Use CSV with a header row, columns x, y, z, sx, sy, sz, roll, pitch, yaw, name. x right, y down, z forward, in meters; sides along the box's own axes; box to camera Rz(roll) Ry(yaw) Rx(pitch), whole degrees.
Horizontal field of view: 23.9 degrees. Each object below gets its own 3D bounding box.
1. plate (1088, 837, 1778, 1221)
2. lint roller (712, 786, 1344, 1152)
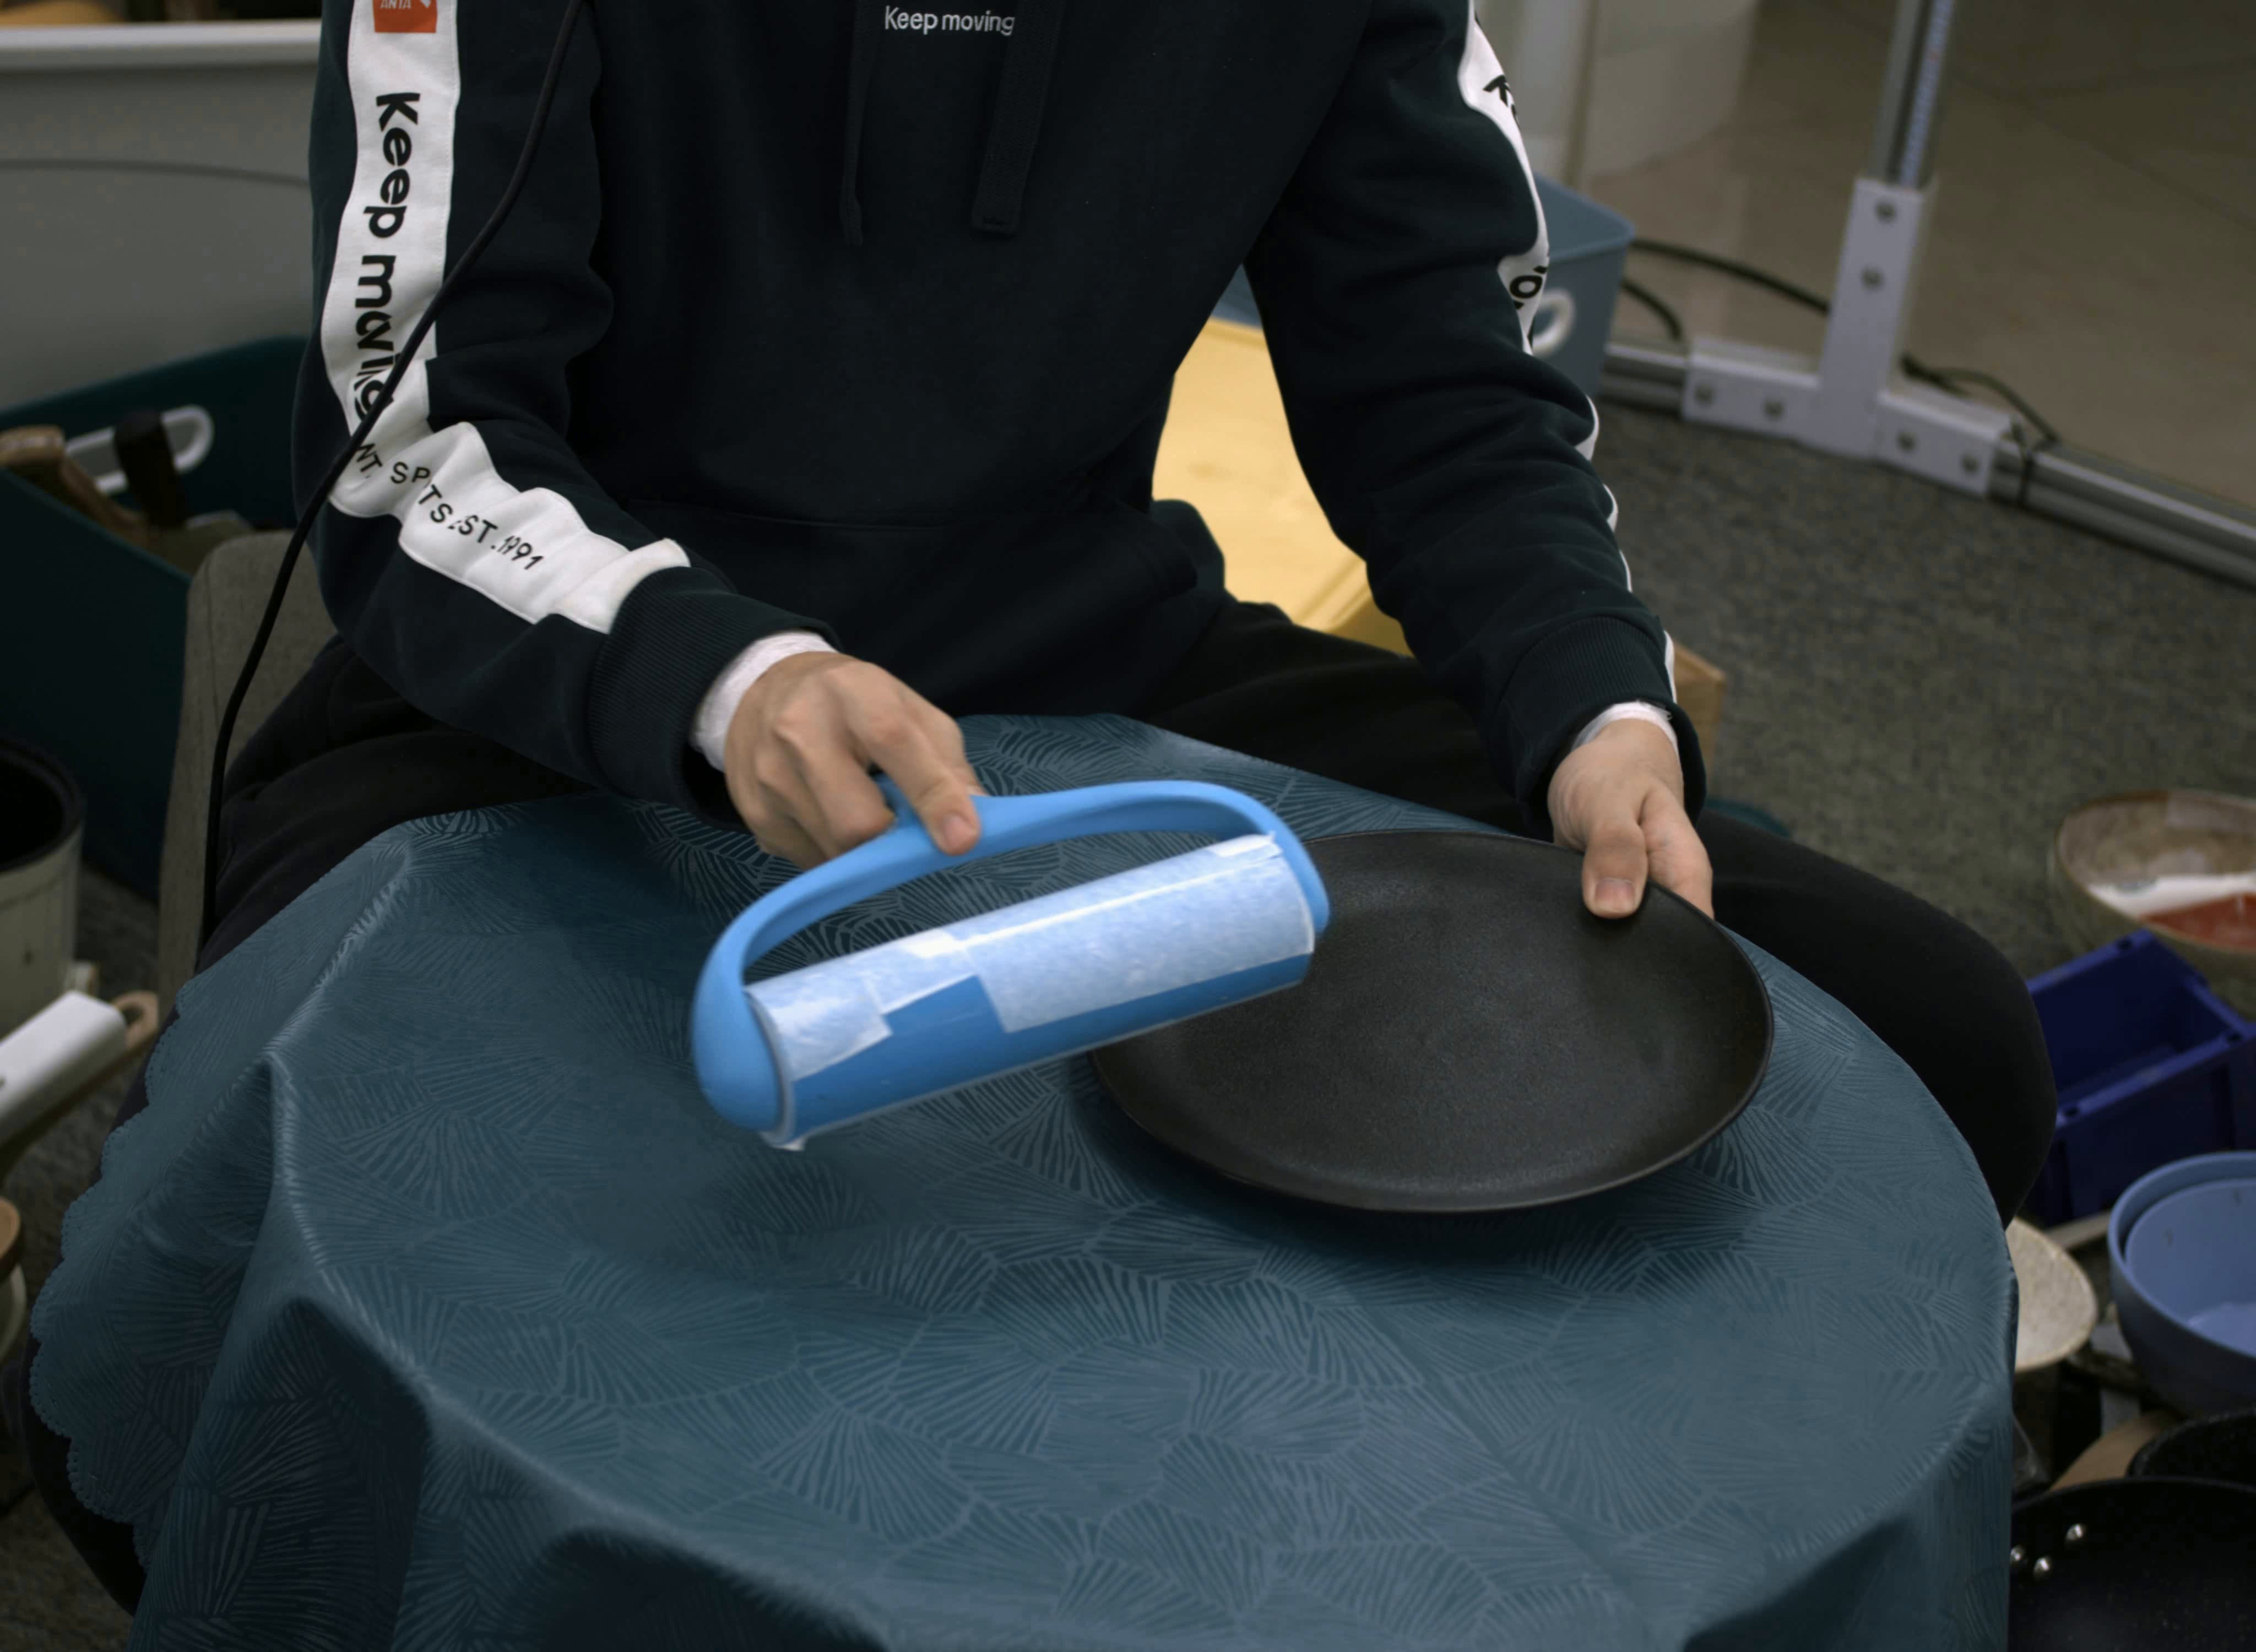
x,y,z,sx,sy,sz,roll,pitch,yaw,name
0.105,0.075,1.867,0.244,0.023,0.246,-1,31,0,plate
-0.061,0.024,1.791,0.228,0.067,0.182,-19,39,-25,lint roller
